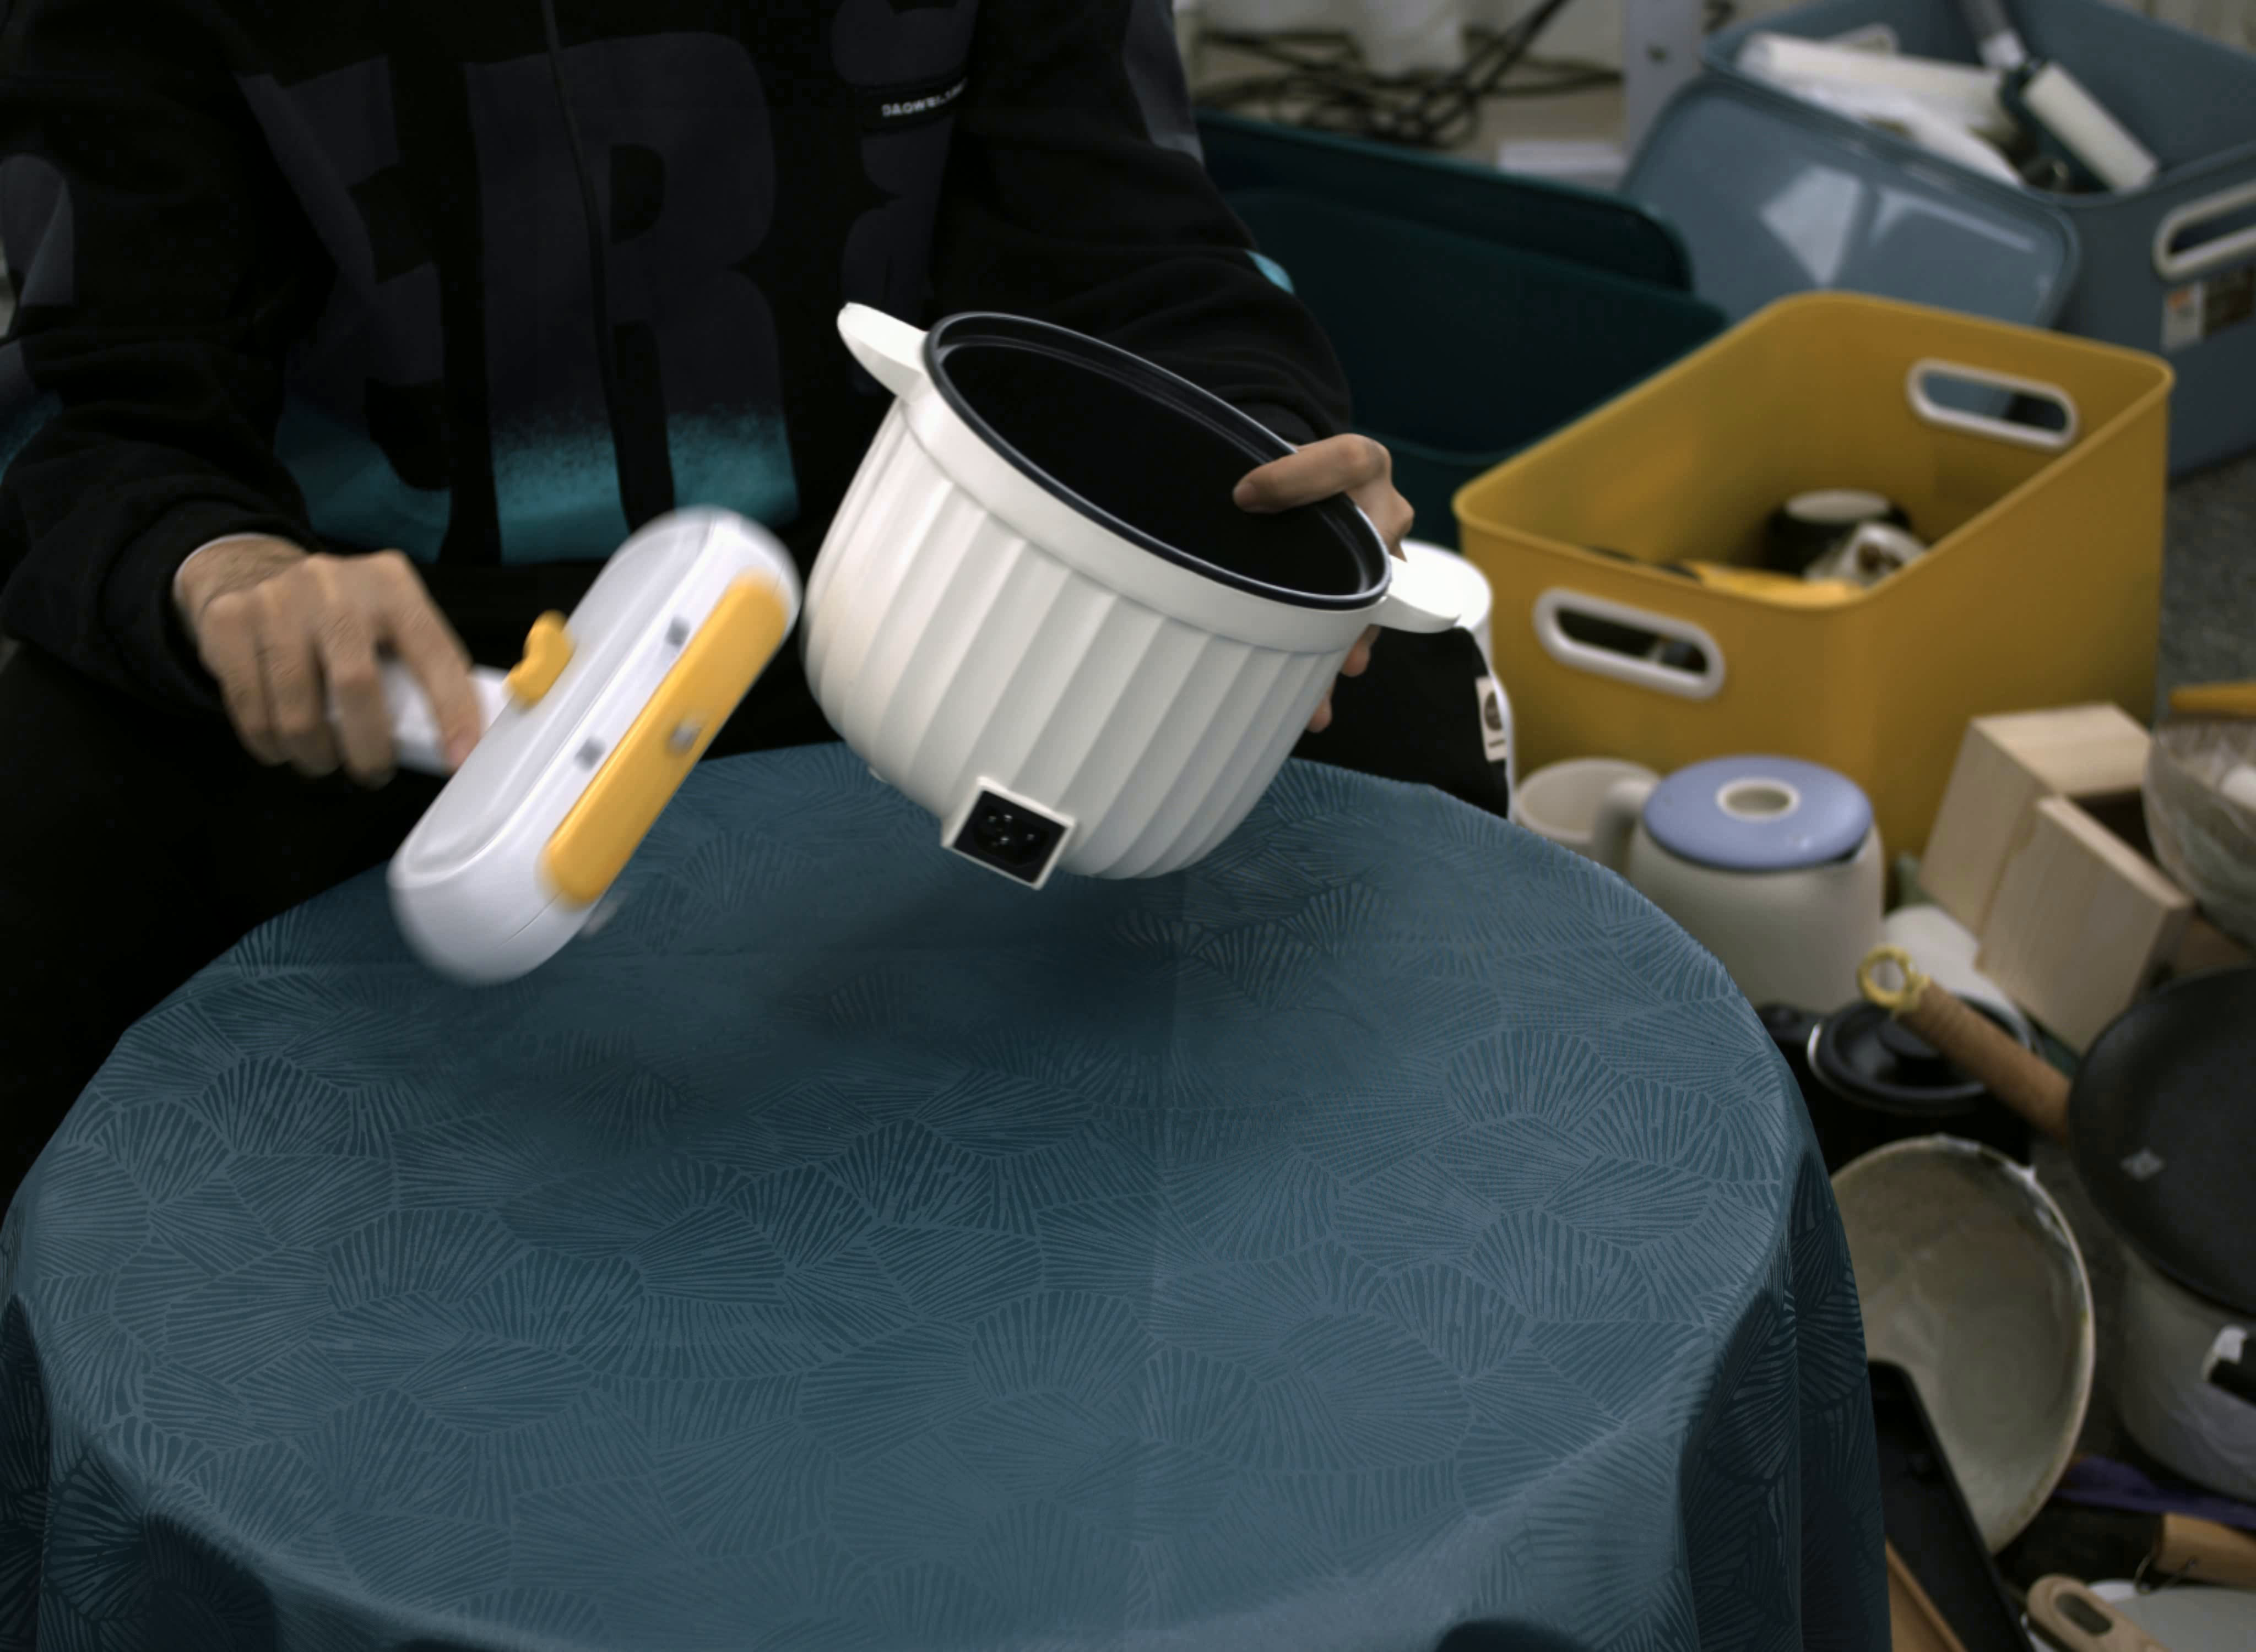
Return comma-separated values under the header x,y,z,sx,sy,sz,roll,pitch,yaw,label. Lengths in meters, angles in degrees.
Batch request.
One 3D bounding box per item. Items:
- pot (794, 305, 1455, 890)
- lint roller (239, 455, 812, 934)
x,y,z,sx,sy,sz,roll,pitch,yaw,label
-0.022,-0.077,1.954,0.239,0.141,0.193,26,23,-13,pot
-0.220,-0.046,1.931,0.190,0.073,0.197,-5,48,35,lint roller
